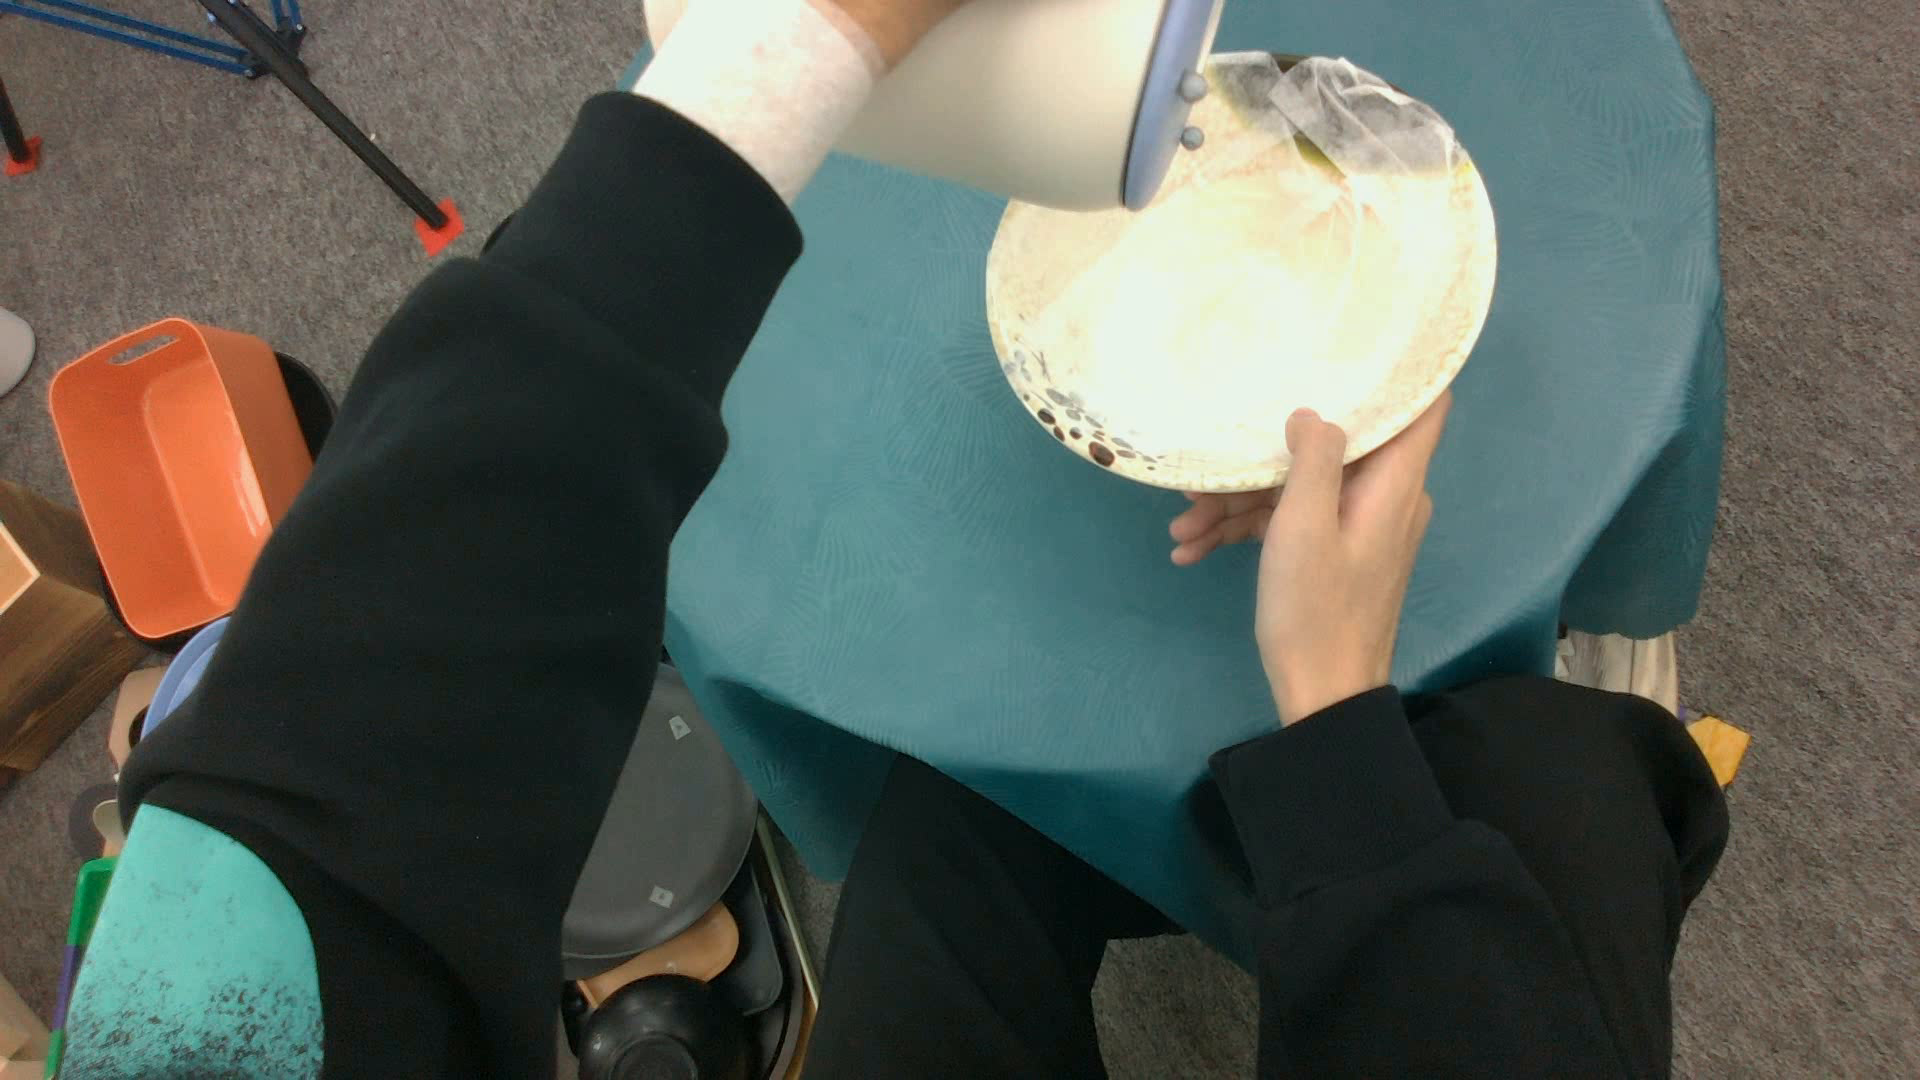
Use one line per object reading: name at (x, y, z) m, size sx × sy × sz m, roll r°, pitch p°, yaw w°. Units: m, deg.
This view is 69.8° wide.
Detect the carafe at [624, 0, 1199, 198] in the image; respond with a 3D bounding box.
carafe at (-0.014, -0.200, 0.450) m, size 0.182 × 0.191 × 0.132 m, roll 14°, pitch 82°, yaw 11°

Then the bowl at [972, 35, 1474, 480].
bowl at (0.112, -0.110, 0.598) m, size 0.204 × 0.078 × 0.204 m, roll -5°, pitch 71°, yaw 14°
